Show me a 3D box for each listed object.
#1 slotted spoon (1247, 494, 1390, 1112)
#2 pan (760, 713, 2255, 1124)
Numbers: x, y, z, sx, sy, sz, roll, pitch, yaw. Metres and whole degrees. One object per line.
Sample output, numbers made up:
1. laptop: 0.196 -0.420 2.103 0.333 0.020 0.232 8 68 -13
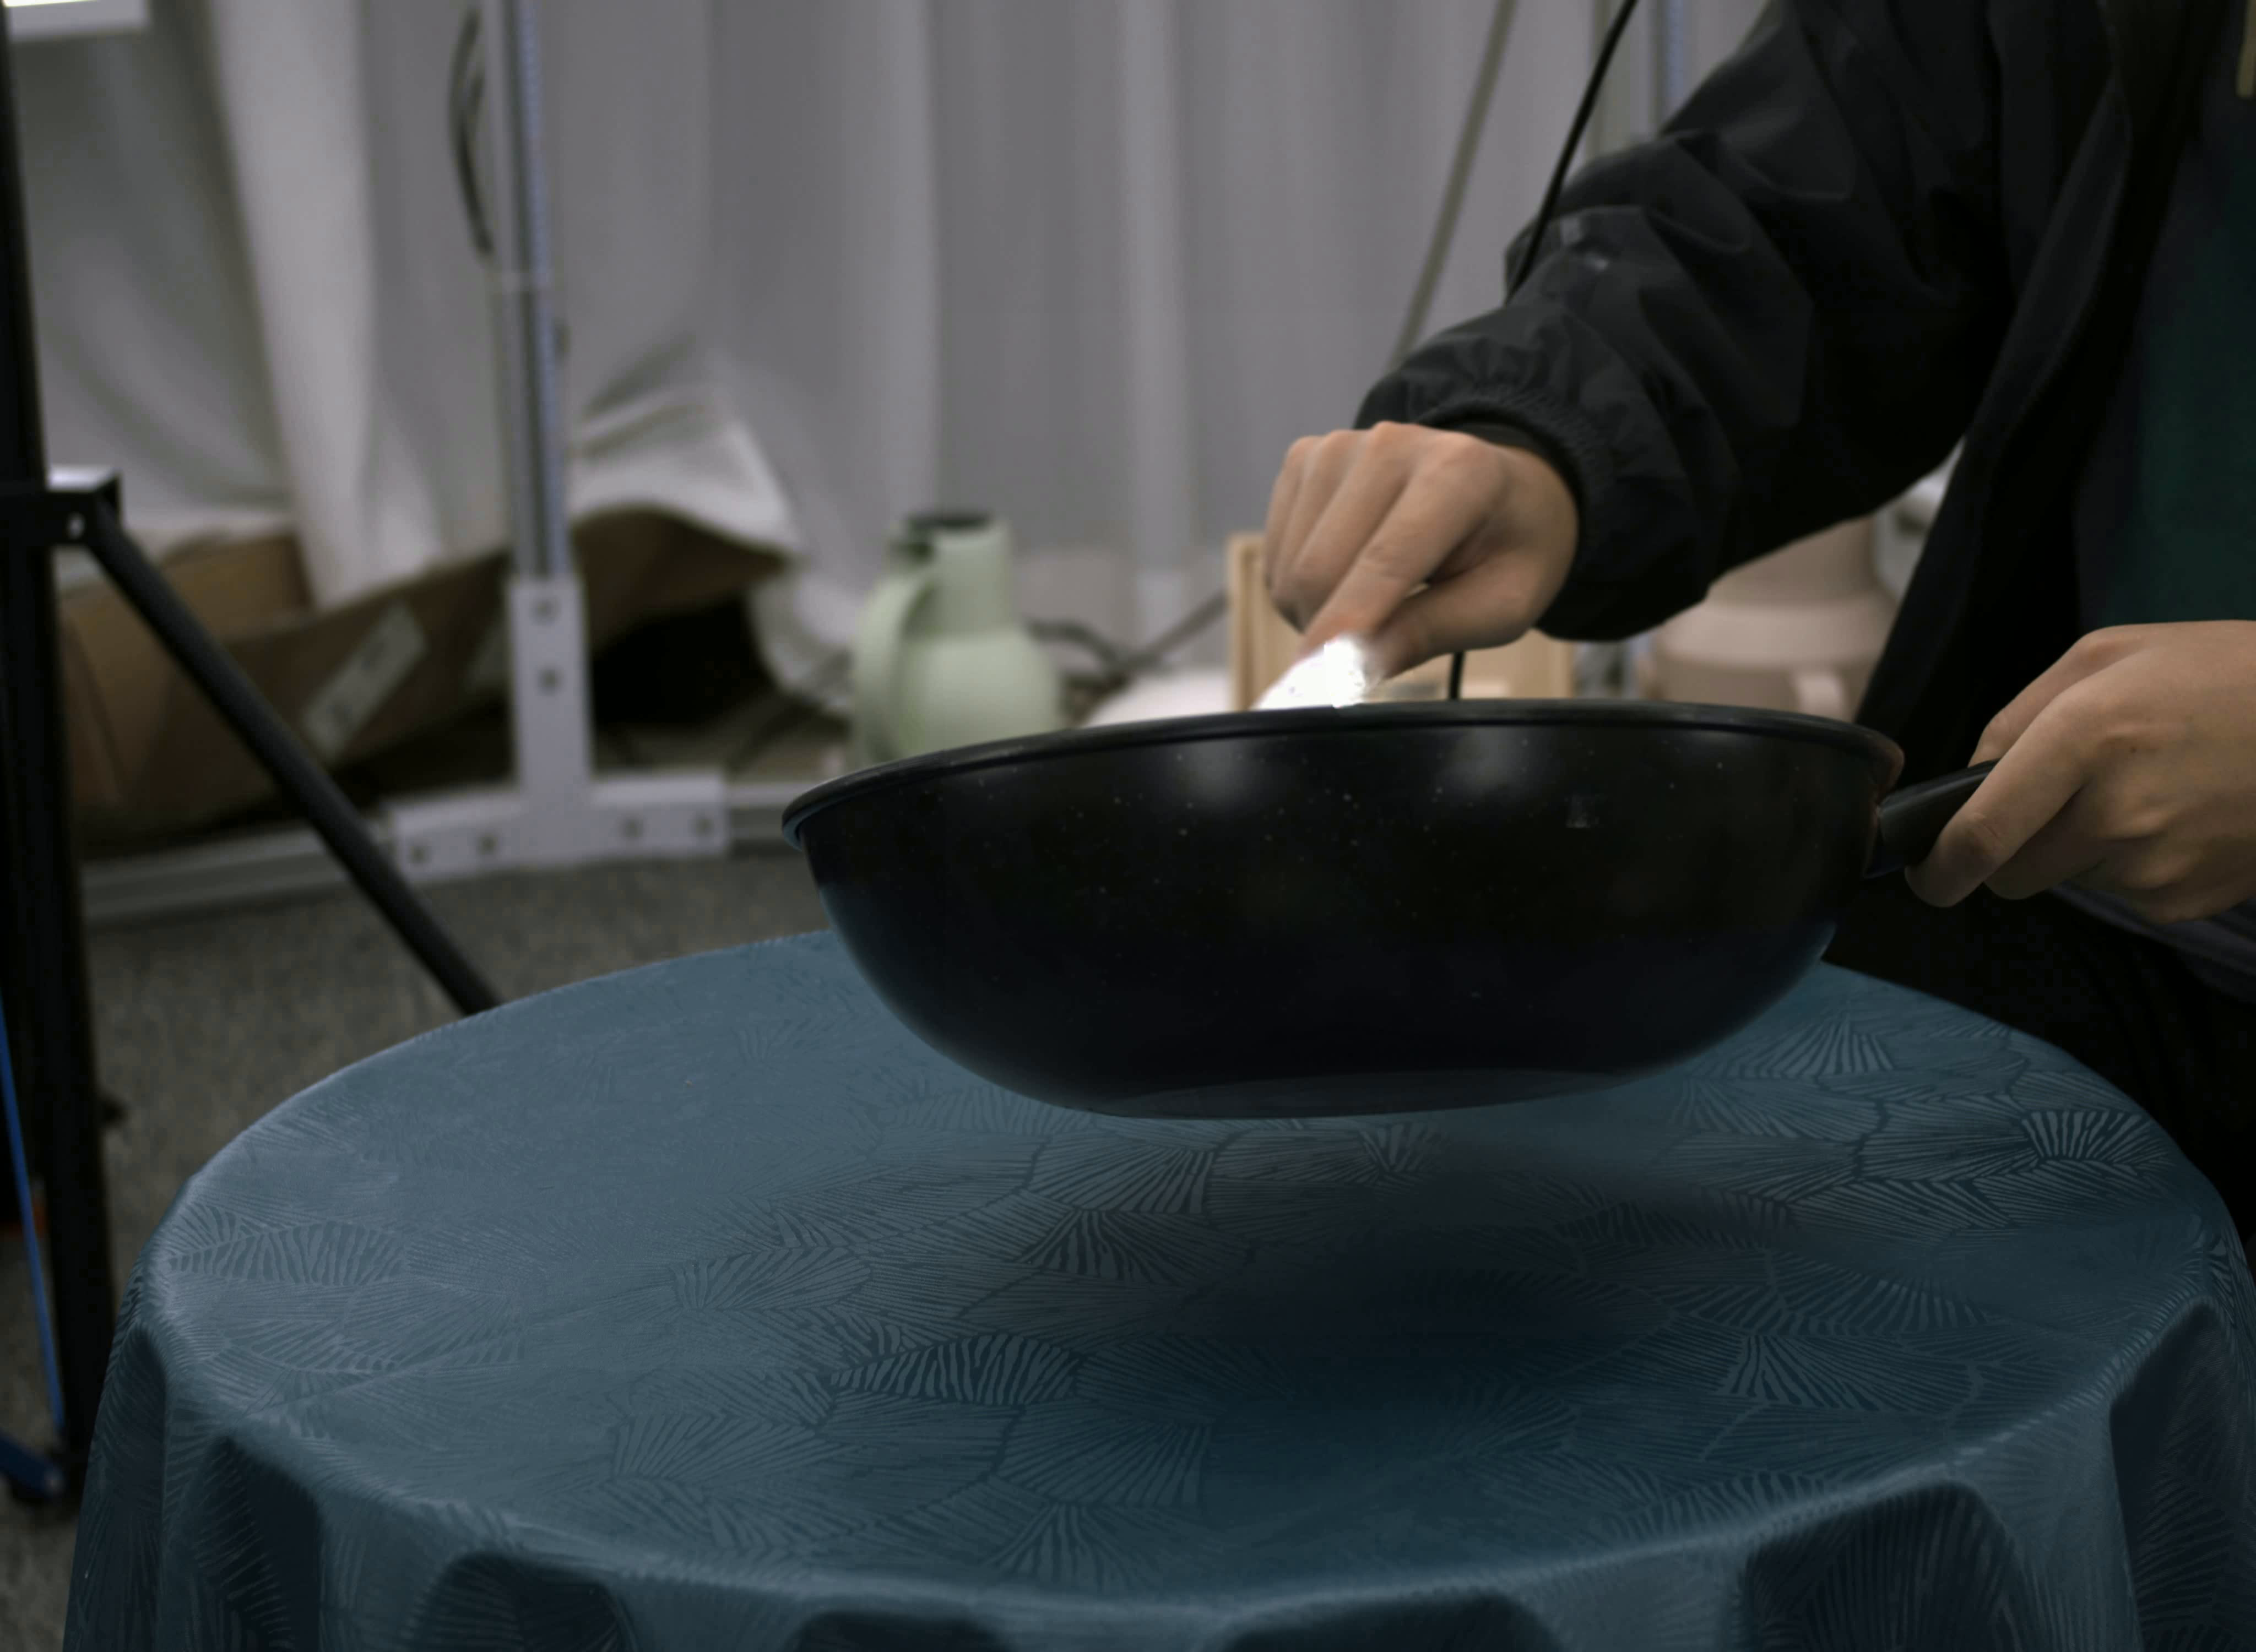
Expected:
1. slotted spoon: 0.060 -0.031 1.600 0.050 0.137 0.347 7 22 5
2. pan: 0.131 0.022 1.479 0.467 0.112 0.314 1 -7 -23
